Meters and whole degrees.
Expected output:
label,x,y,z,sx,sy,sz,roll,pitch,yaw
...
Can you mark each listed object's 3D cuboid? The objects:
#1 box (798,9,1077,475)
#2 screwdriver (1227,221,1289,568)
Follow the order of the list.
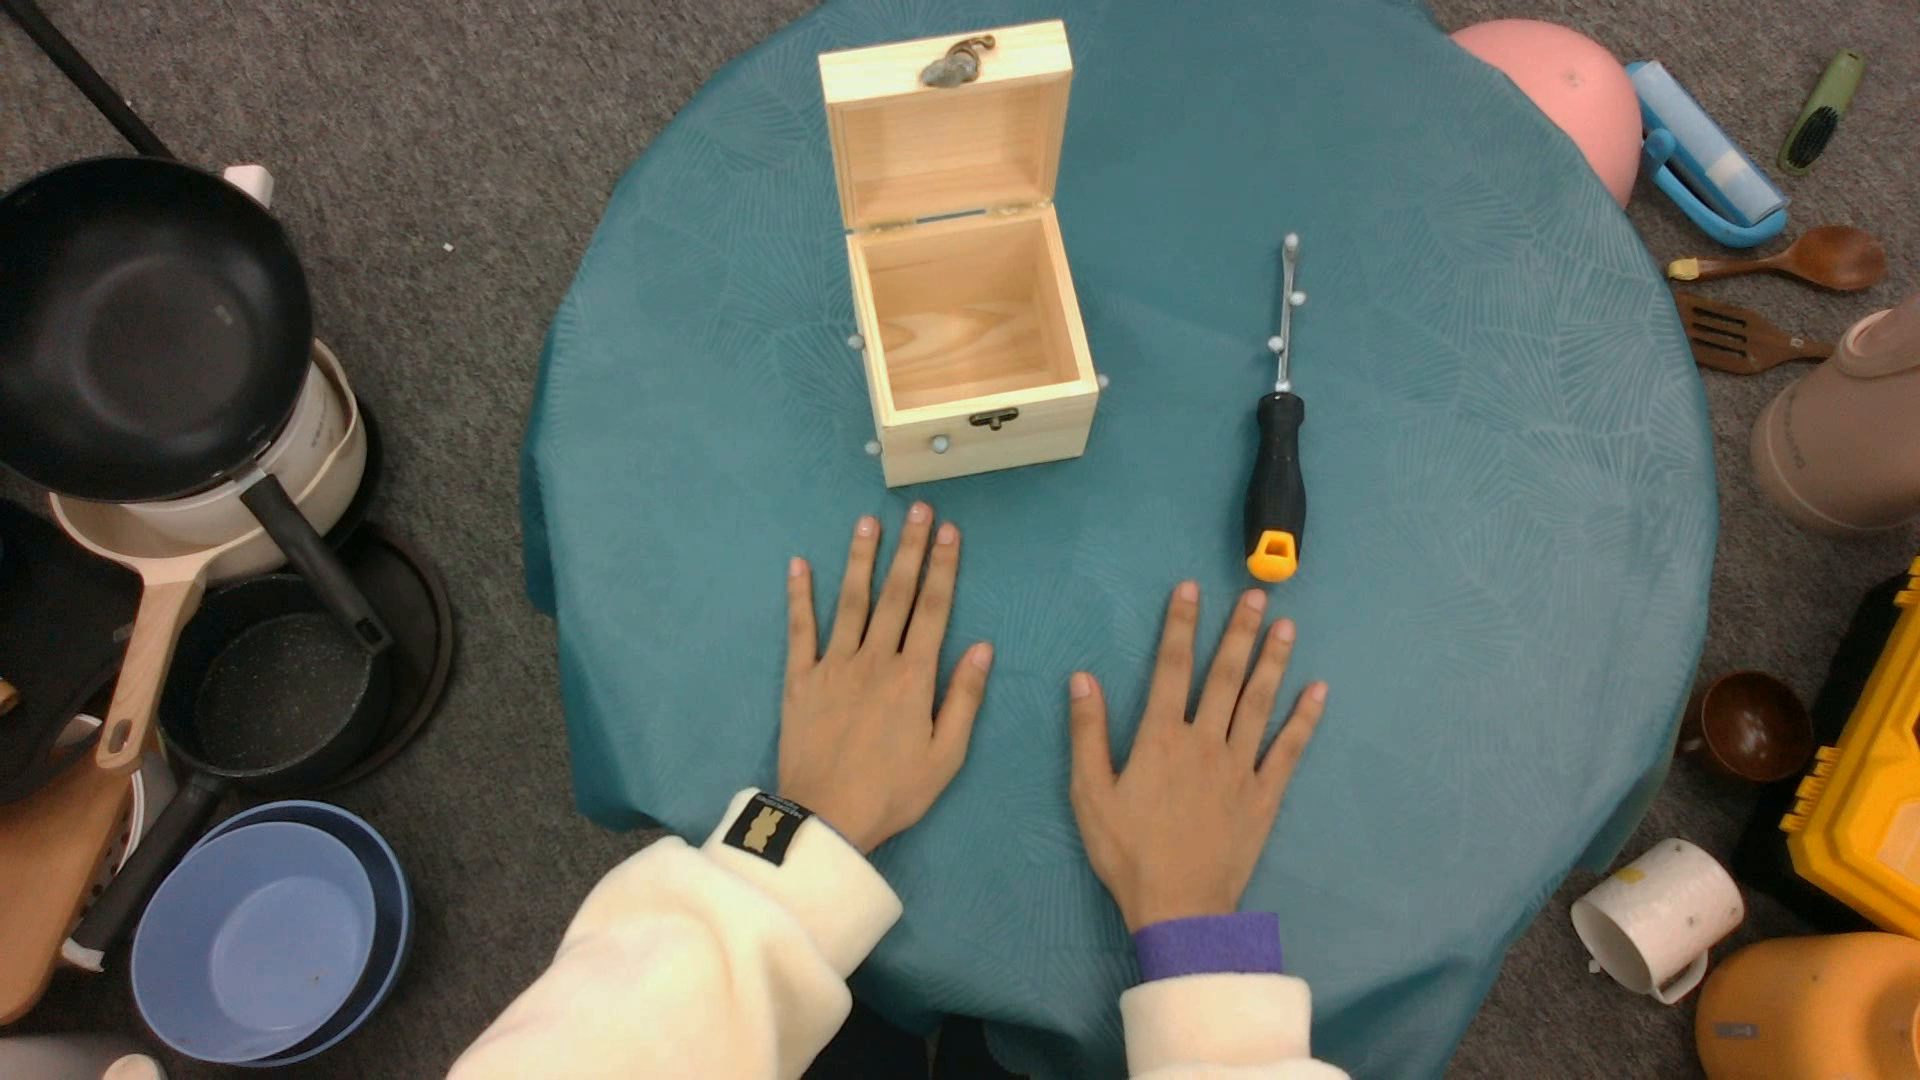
label,x,y,z,sx,sy,sz,roll,pitch,yaw
box,-0.007,-0.125,0.625,0.102,0.184,0.134,-11,71,-6
screwdriver,0.158,-0.078,0.700,0.031,0.031,0.198,11,69,2
